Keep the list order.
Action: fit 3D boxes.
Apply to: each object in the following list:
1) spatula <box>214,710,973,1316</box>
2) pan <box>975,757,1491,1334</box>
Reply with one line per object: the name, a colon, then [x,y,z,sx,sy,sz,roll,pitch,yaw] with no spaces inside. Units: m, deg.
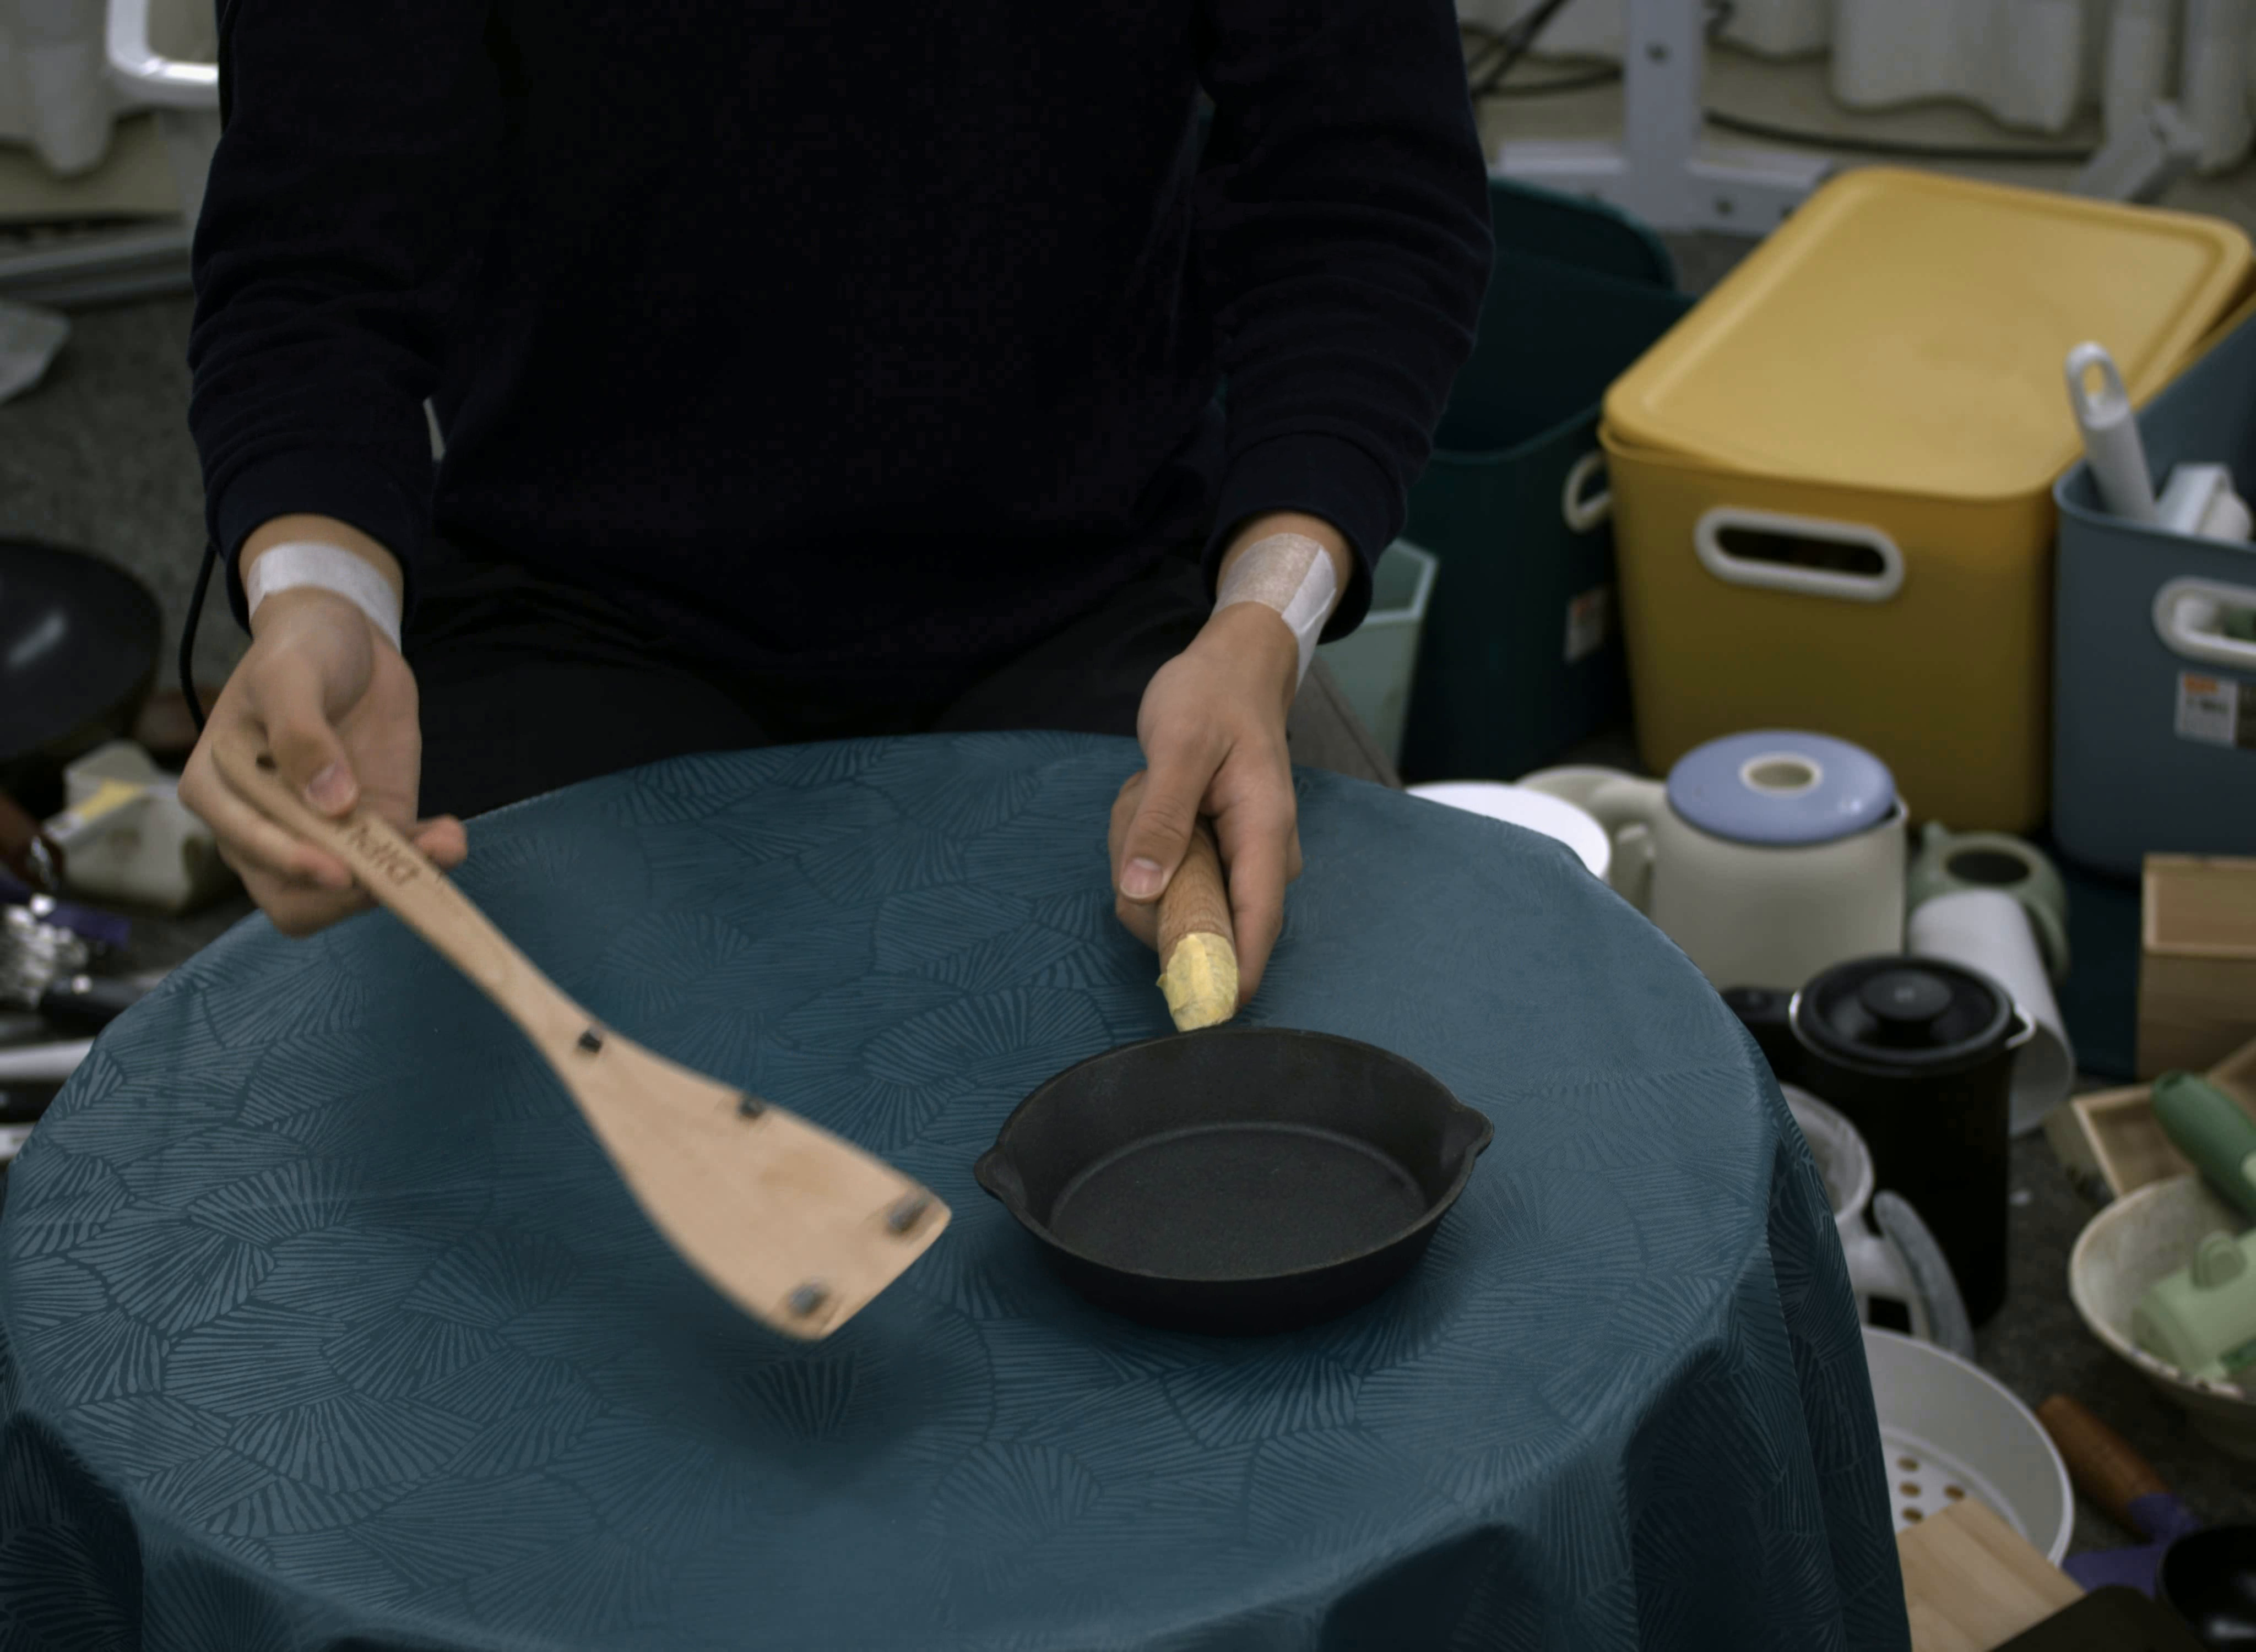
spatula: [-0.180,0.052,1.800,0.328,0.016,0.081,38,43,25]
pan: [0.030,0.071,1.902,0.168,0.049,0.329,-4,29,-1]
